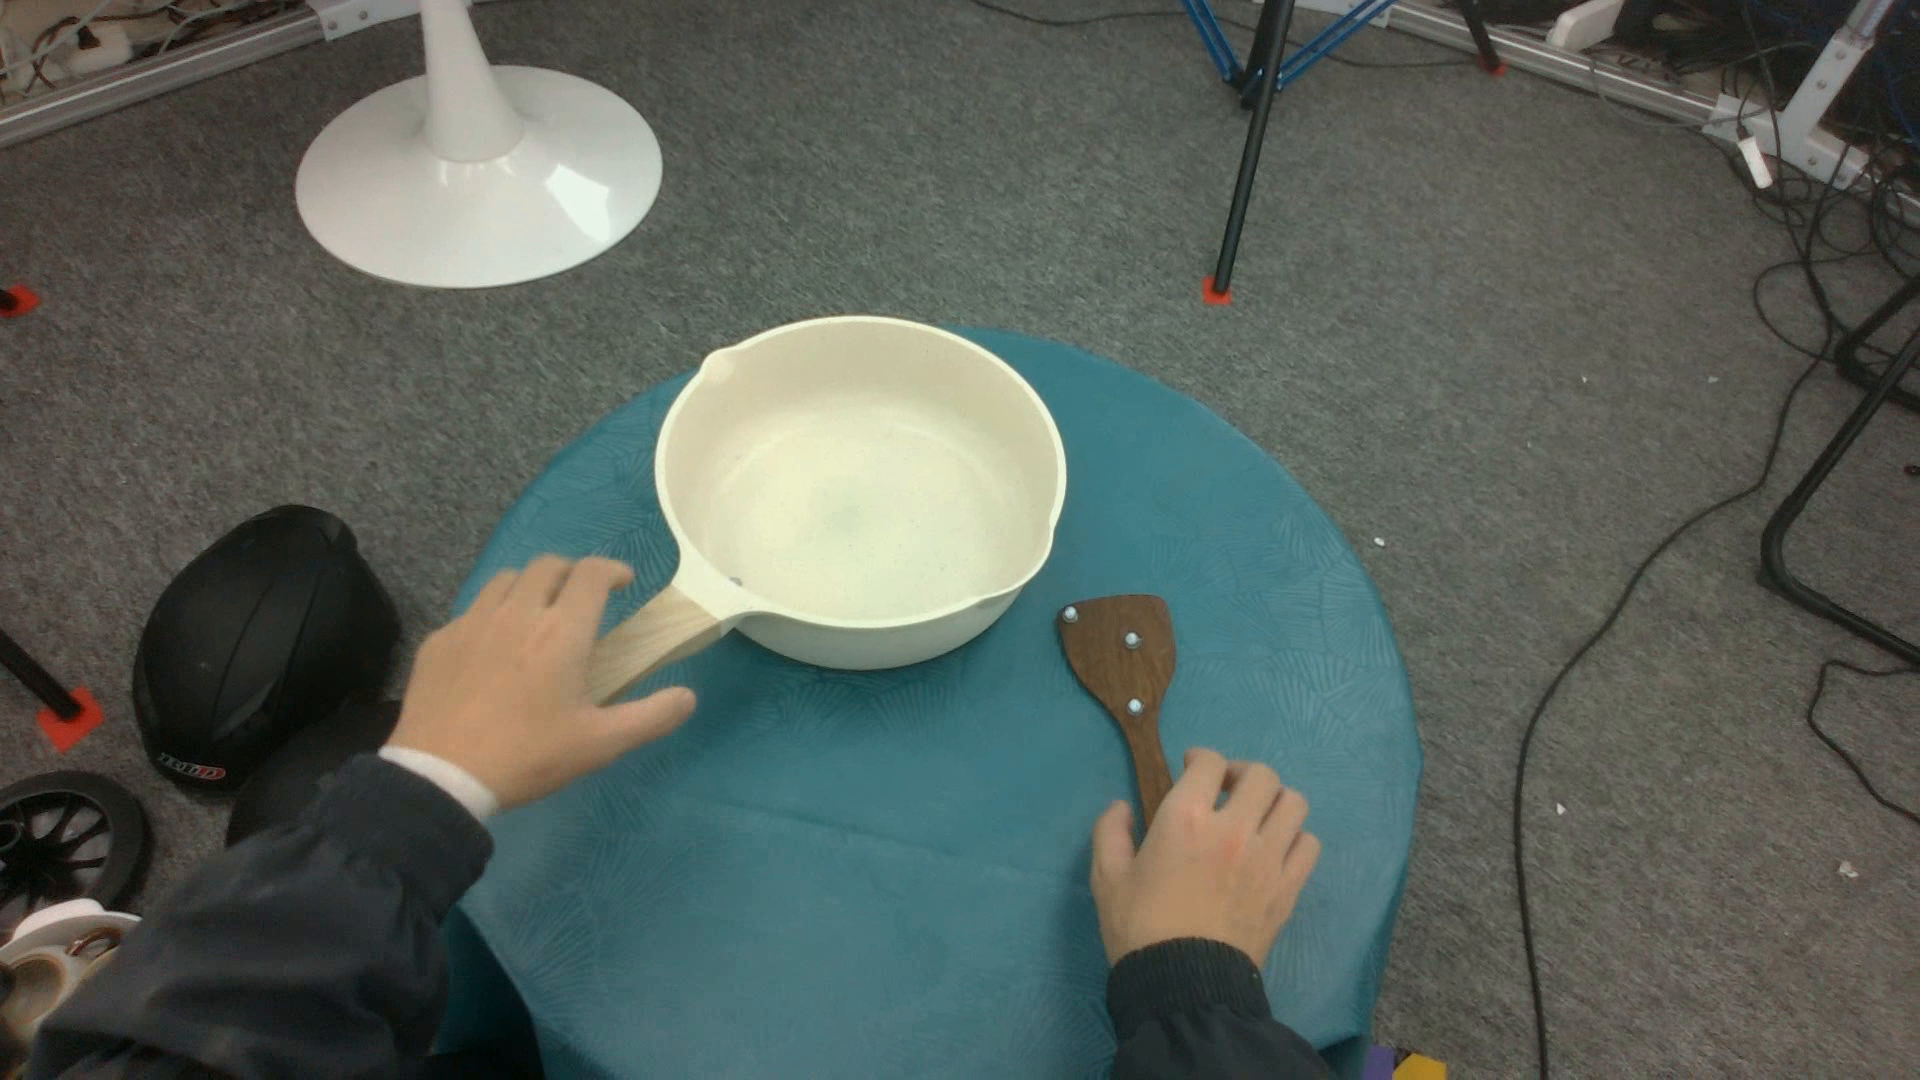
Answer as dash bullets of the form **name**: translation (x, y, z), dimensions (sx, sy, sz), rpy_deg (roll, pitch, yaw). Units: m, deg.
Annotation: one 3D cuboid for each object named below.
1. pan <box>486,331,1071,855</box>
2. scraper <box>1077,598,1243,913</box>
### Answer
- **pan**: translation (-0.110, 0.037, 0.836), dimensions (0.263, 0.101, 0.437), rpy_deg (31, 57, 19)
- **scraper**: translation (0.128, 0.125, 0.833), dimensions (0.076, 0.011, 0.212), rpy_deg (-8, 53, -6)
